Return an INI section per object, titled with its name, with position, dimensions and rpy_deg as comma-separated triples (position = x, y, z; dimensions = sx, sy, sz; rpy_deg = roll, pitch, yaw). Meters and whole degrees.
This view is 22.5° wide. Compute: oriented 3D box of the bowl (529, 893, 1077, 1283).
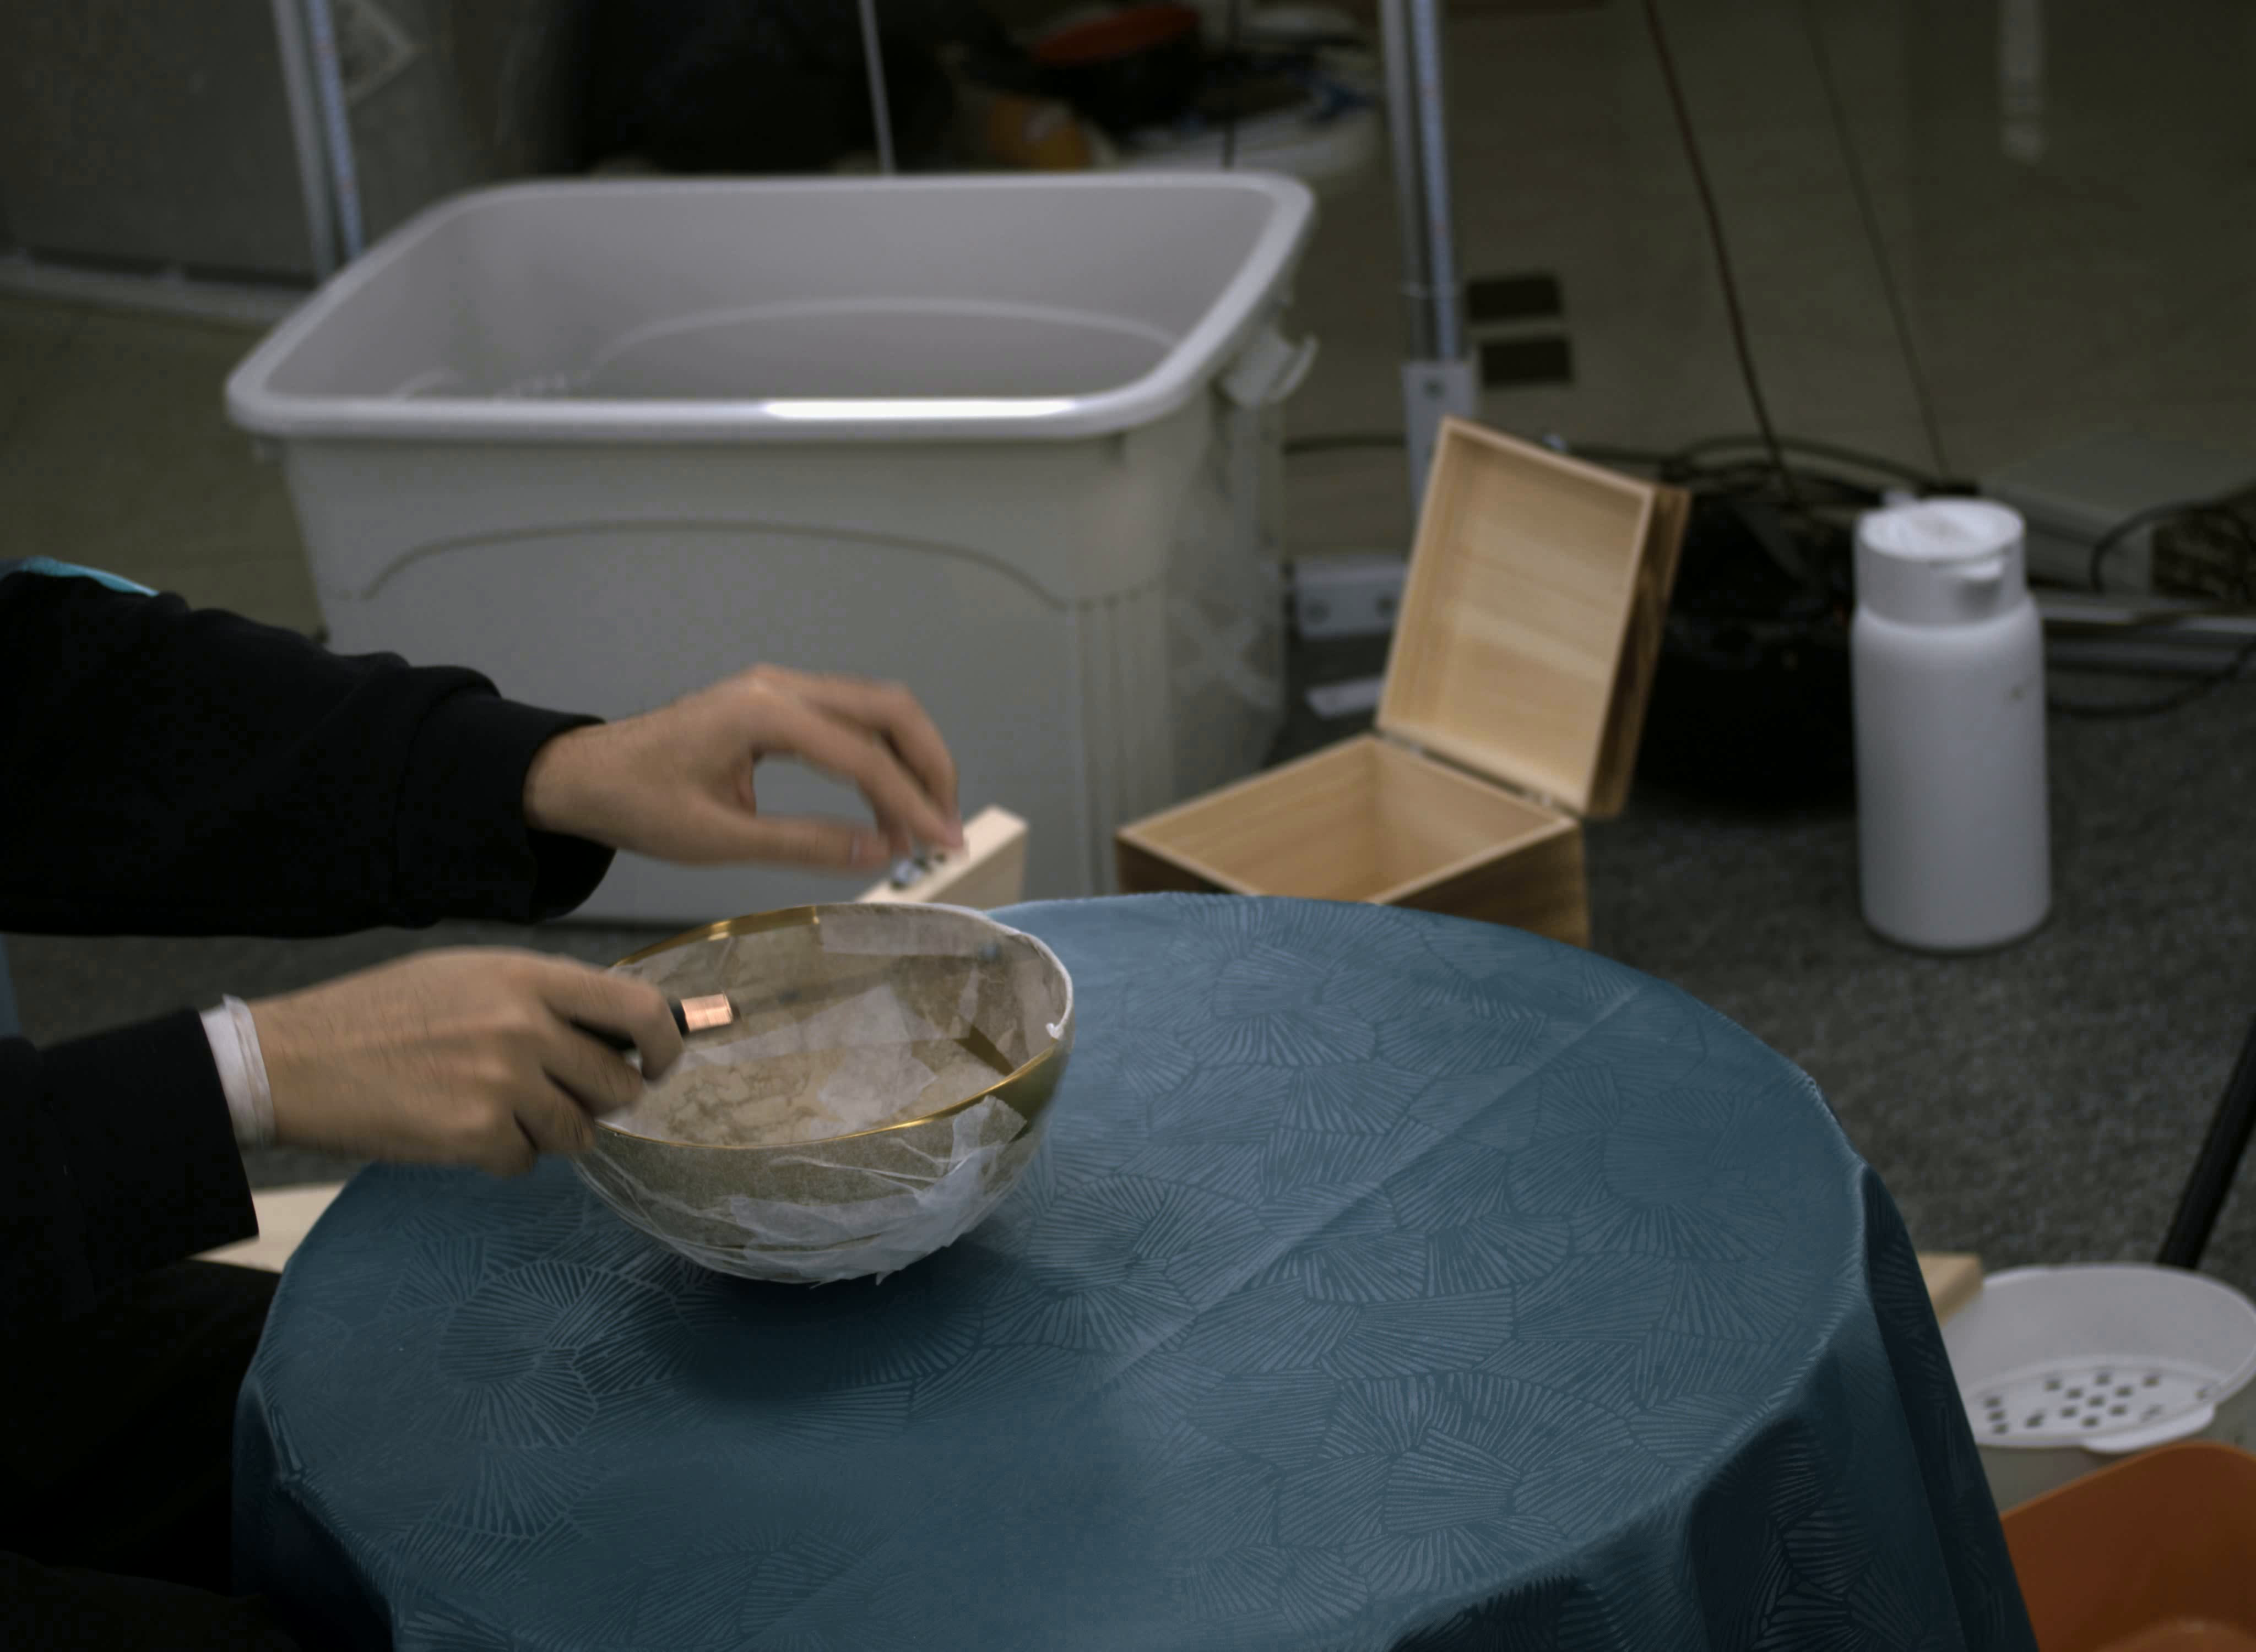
[bowl]
position = -0.120, 0.111, 2.122
dimensions = 0.214, 0.096, 0.211
rpy_deg = -5, 27, 2

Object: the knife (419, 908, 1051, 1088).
[knife]
position = -0.136, 0.058, 1.965
dimensions = 0.225, 0.017, 0.026
rpy_deg = -14, 3, 3
